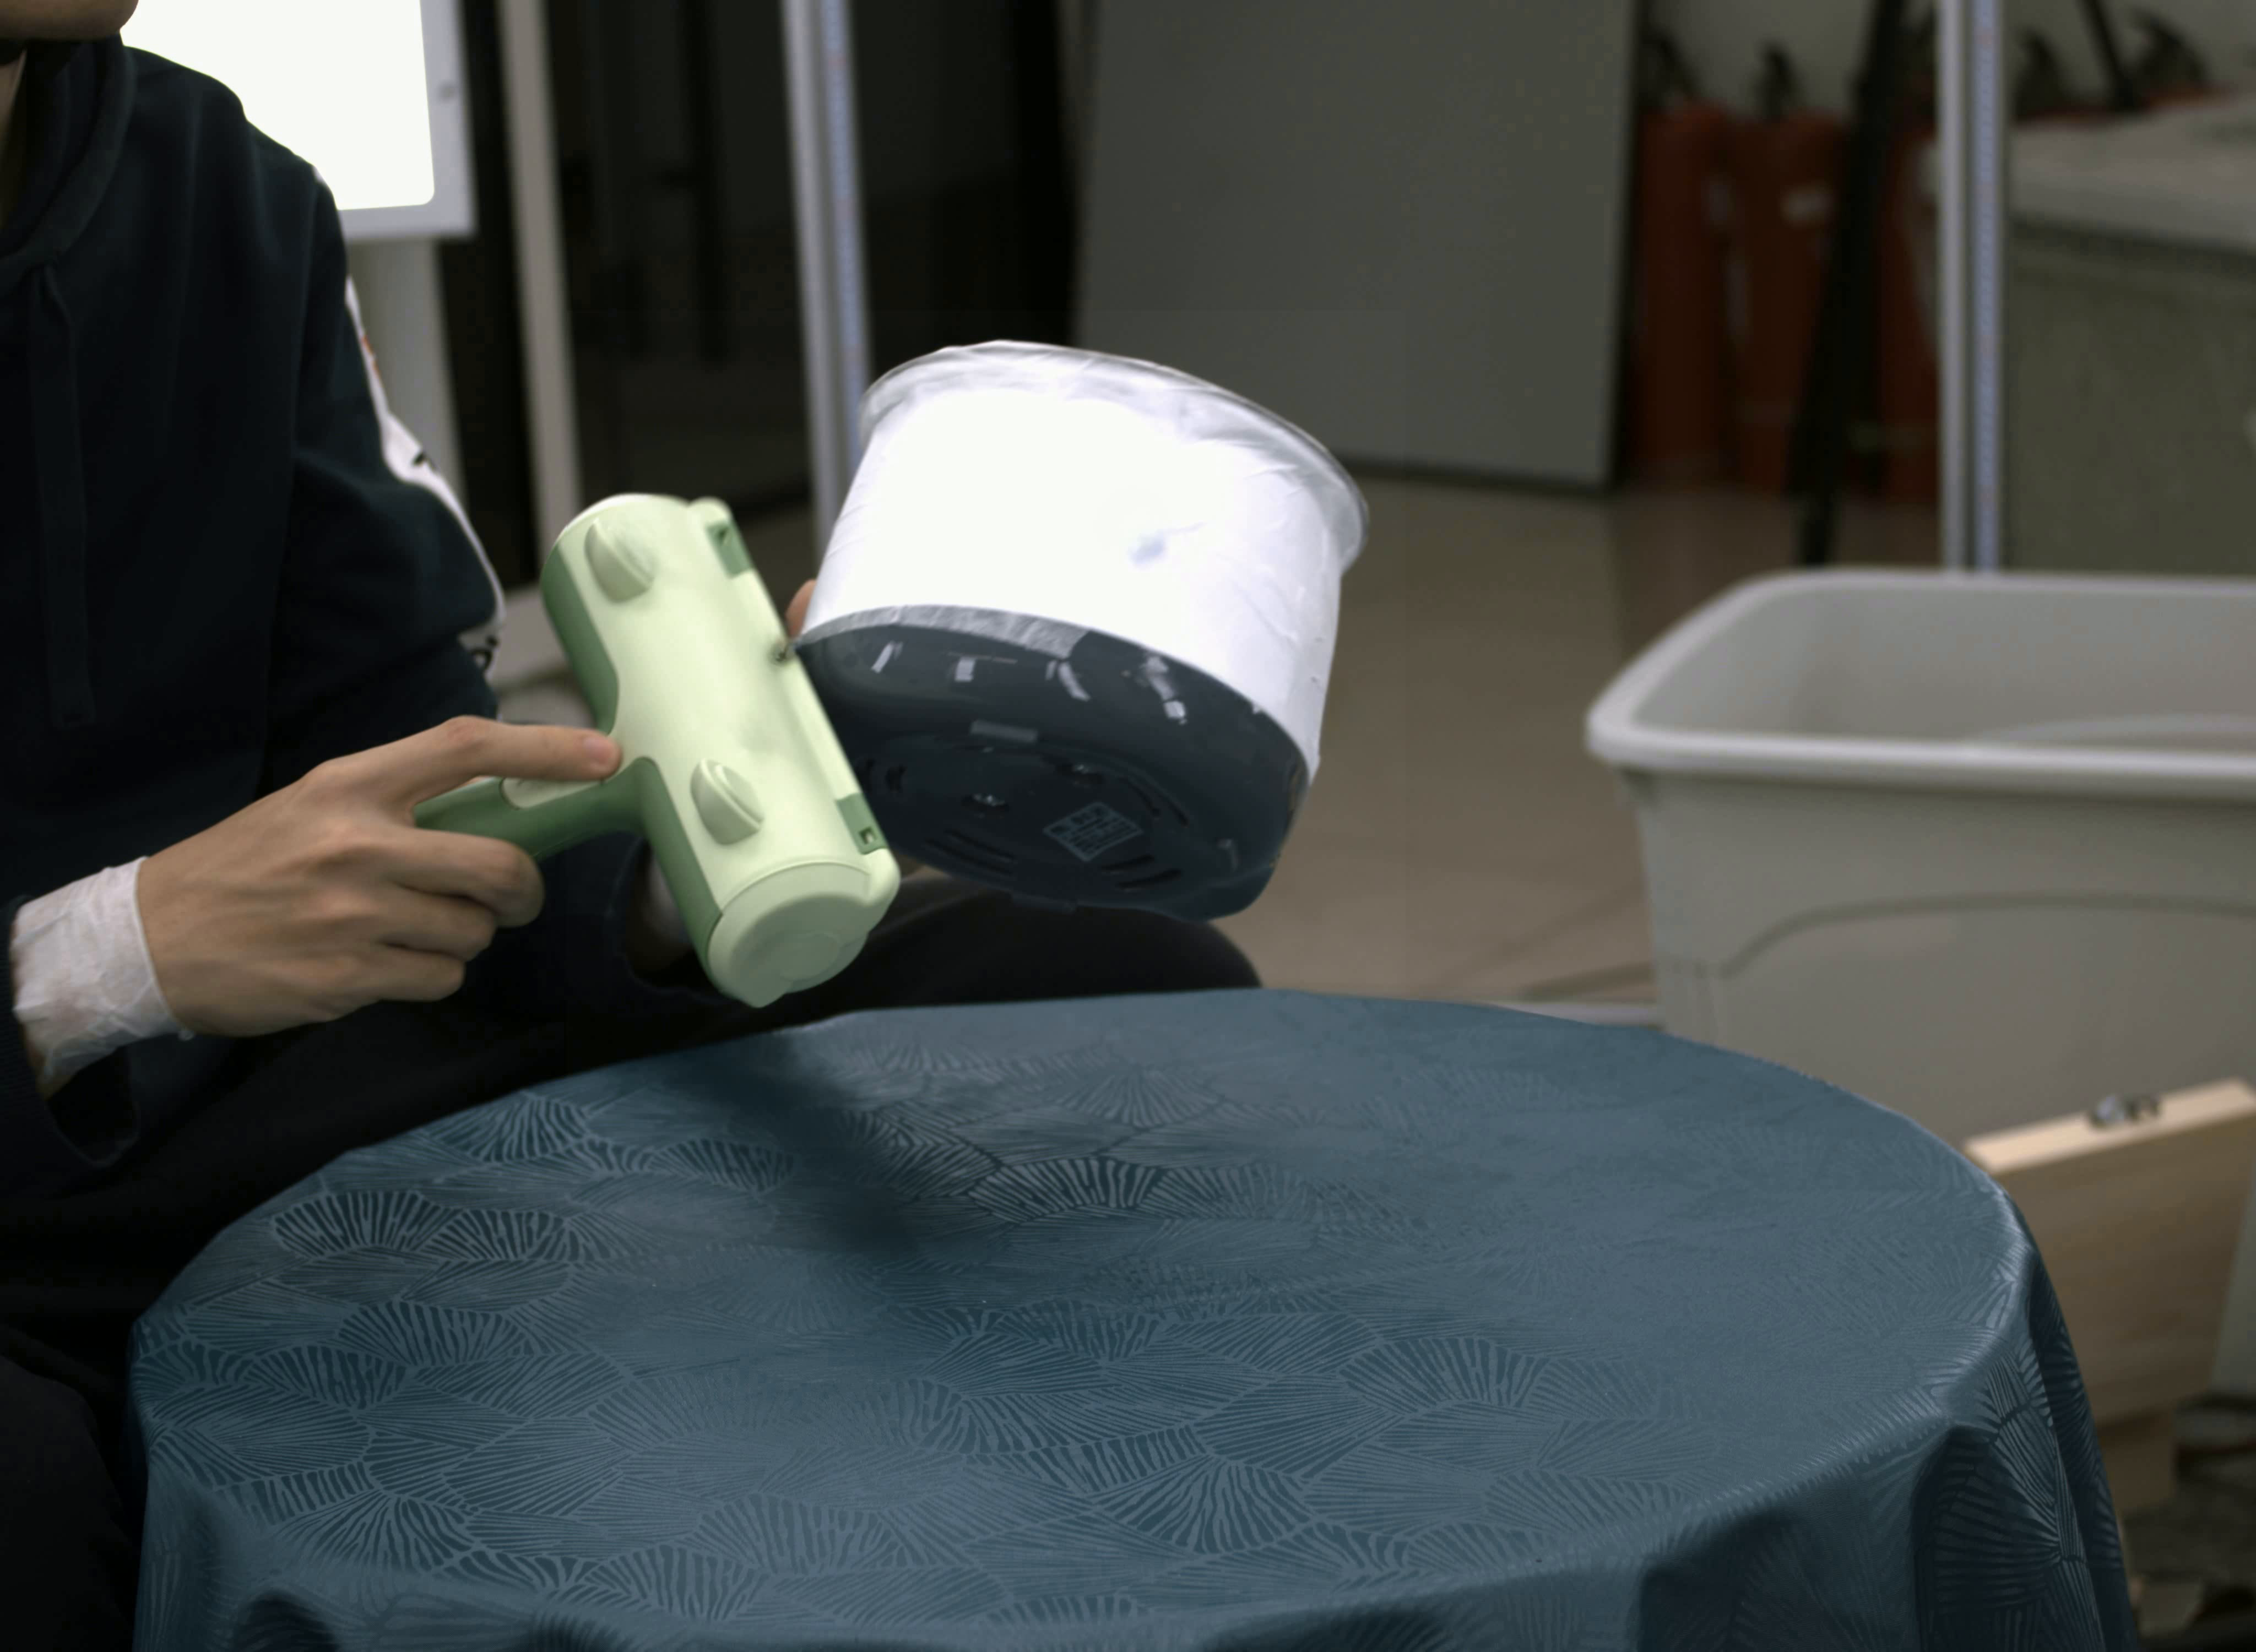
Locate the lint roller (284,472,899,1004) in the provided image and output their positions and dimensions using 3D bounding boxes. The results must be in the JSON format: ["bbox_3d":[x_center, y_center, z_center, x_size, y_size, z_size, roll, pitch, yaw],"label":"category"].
[{"bbox_3d":[-0.184,-0.019,1.705,0.180,0.082,0.201,-19,49,-8],"label":"lint roller"}]

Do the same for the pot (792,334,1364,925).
[{"bbox_3d":[-0.037,-0.057,1.804,0.175,0.138,0.236,28,-25,-31],"label":"pot"}]
